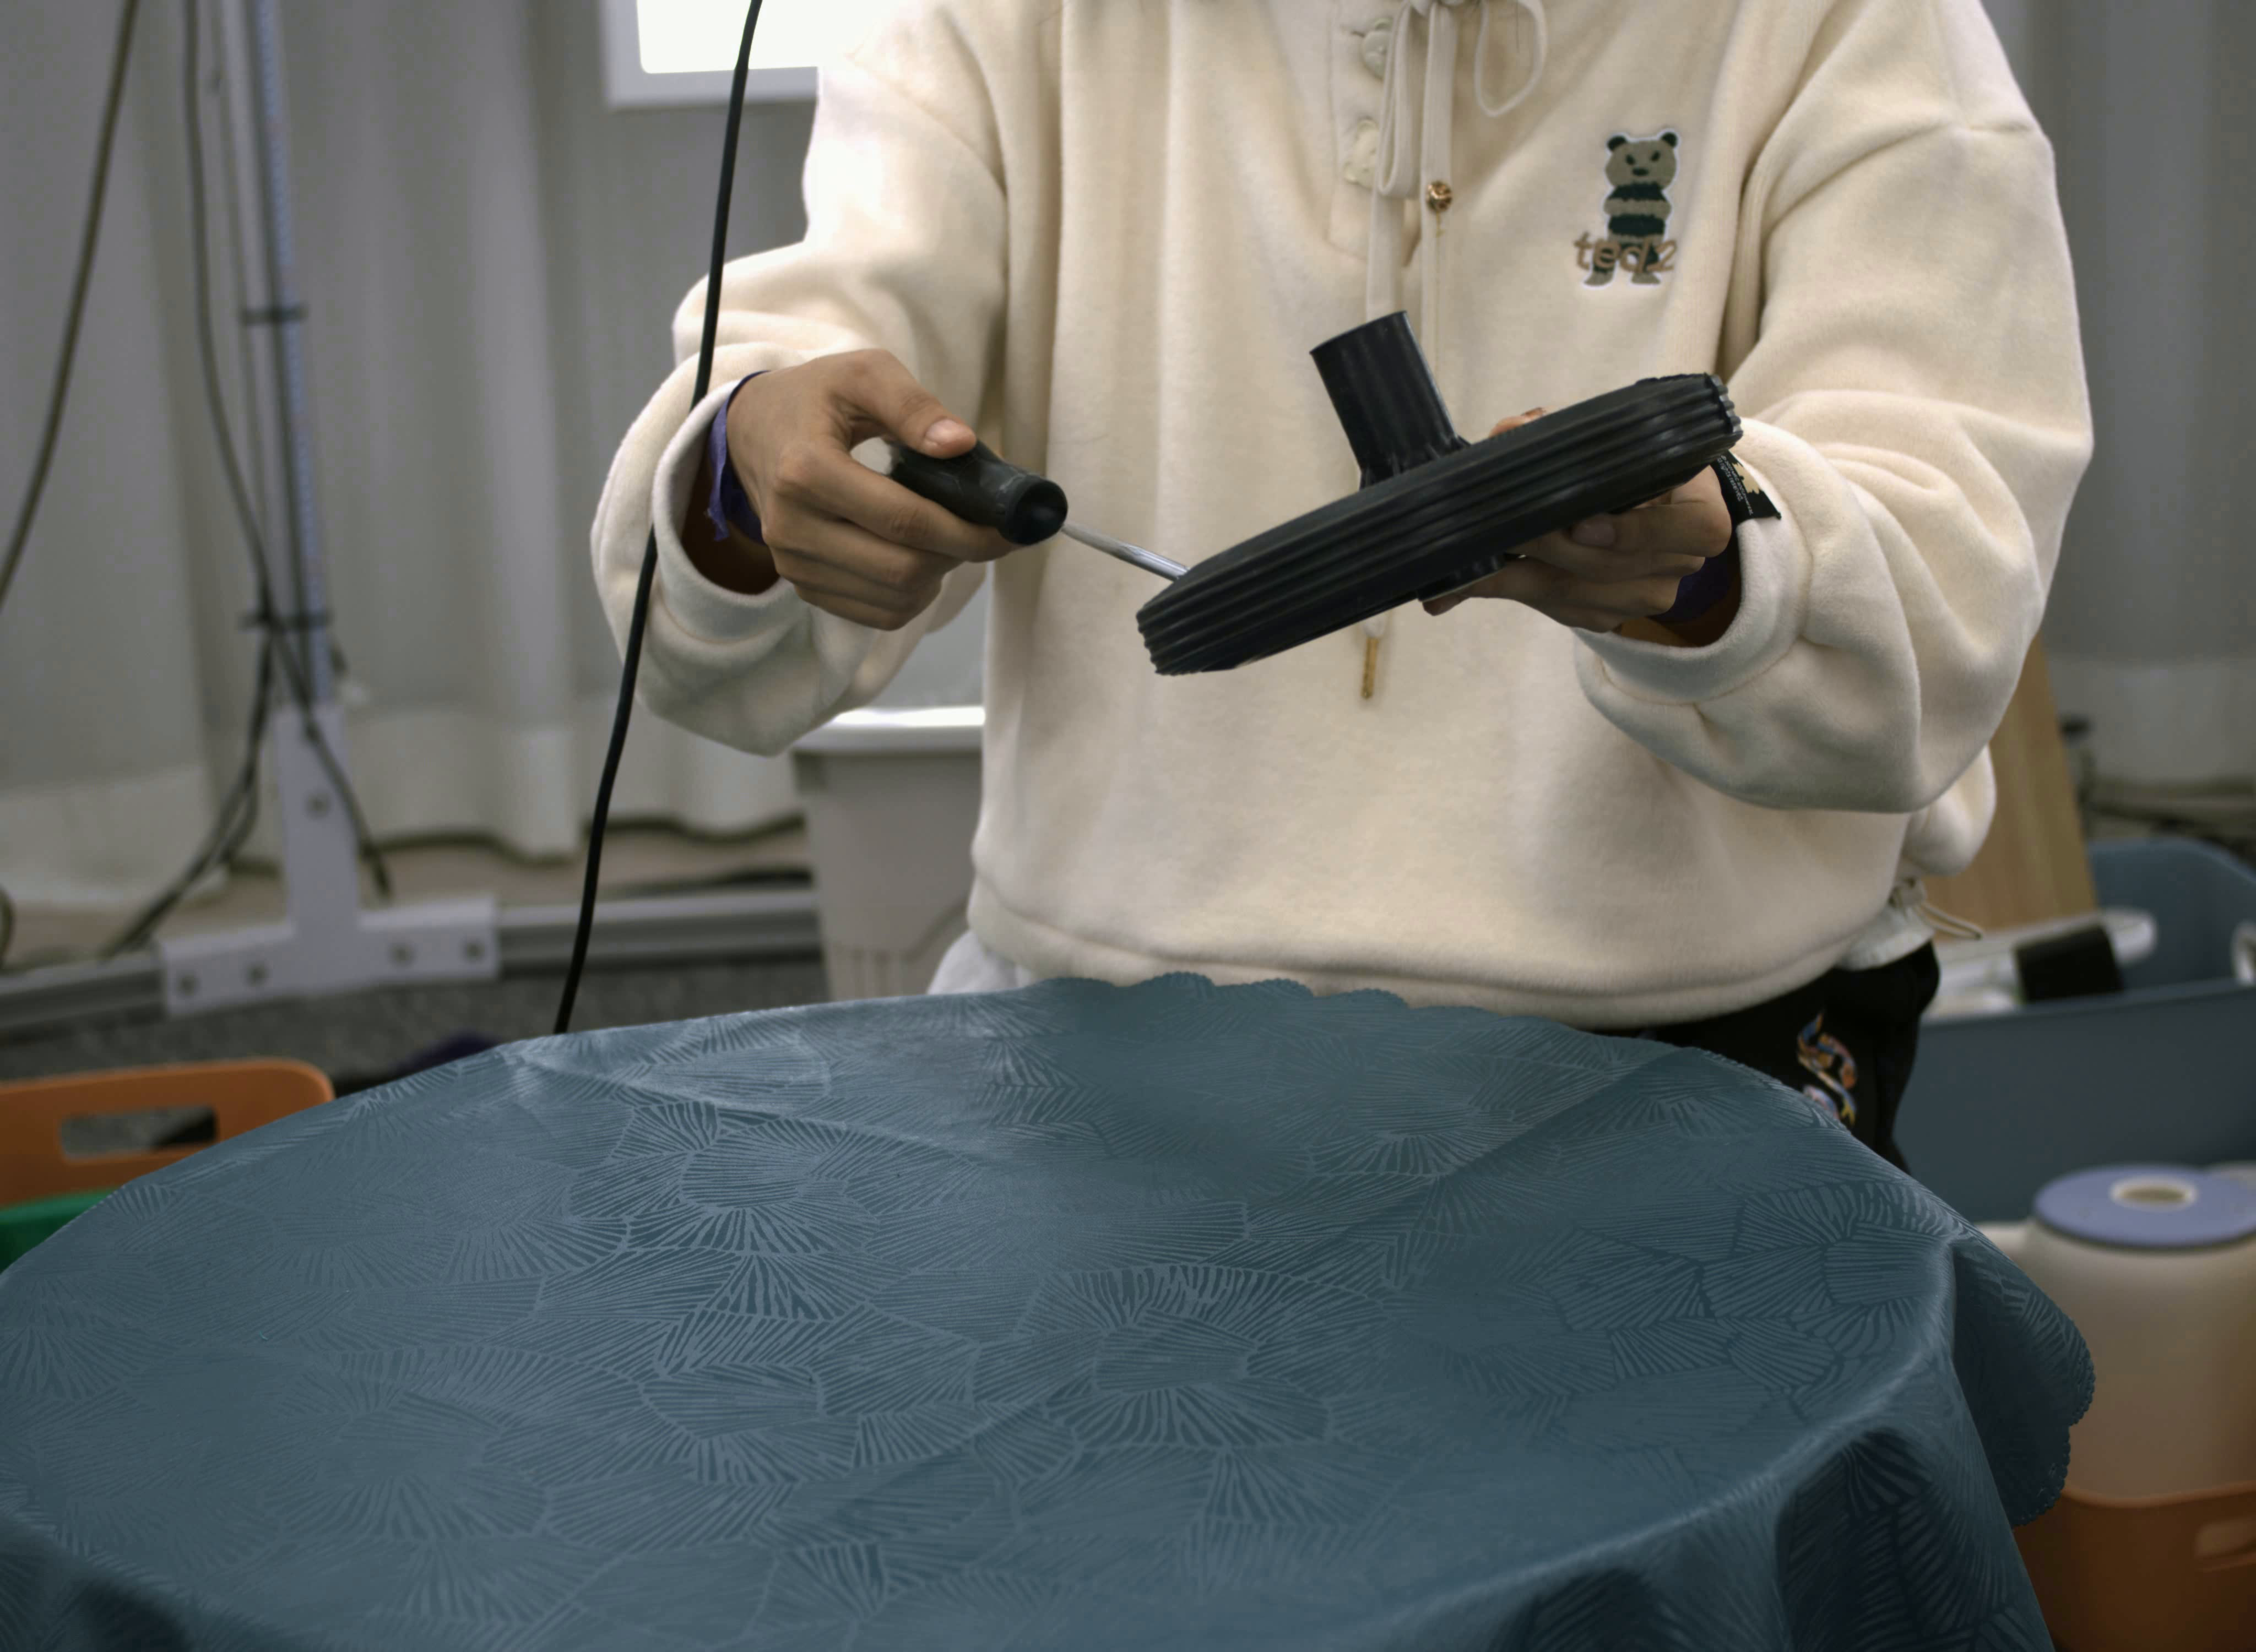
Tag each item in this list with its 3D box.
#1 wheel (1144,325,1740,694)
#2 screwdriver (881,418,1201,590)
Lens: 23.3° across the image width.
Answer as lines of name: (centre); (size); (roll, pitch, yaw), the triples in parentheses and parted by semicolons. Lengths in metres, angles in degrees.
wheel: (0.083, -0.105, 1.616); (0.190, 0.079, 0.187); (-25, 1, -31)
screwdriver: (-0.029, -0.102, 1.743); (0.031, 0.031, 0.198); (-9, 18, -25)
